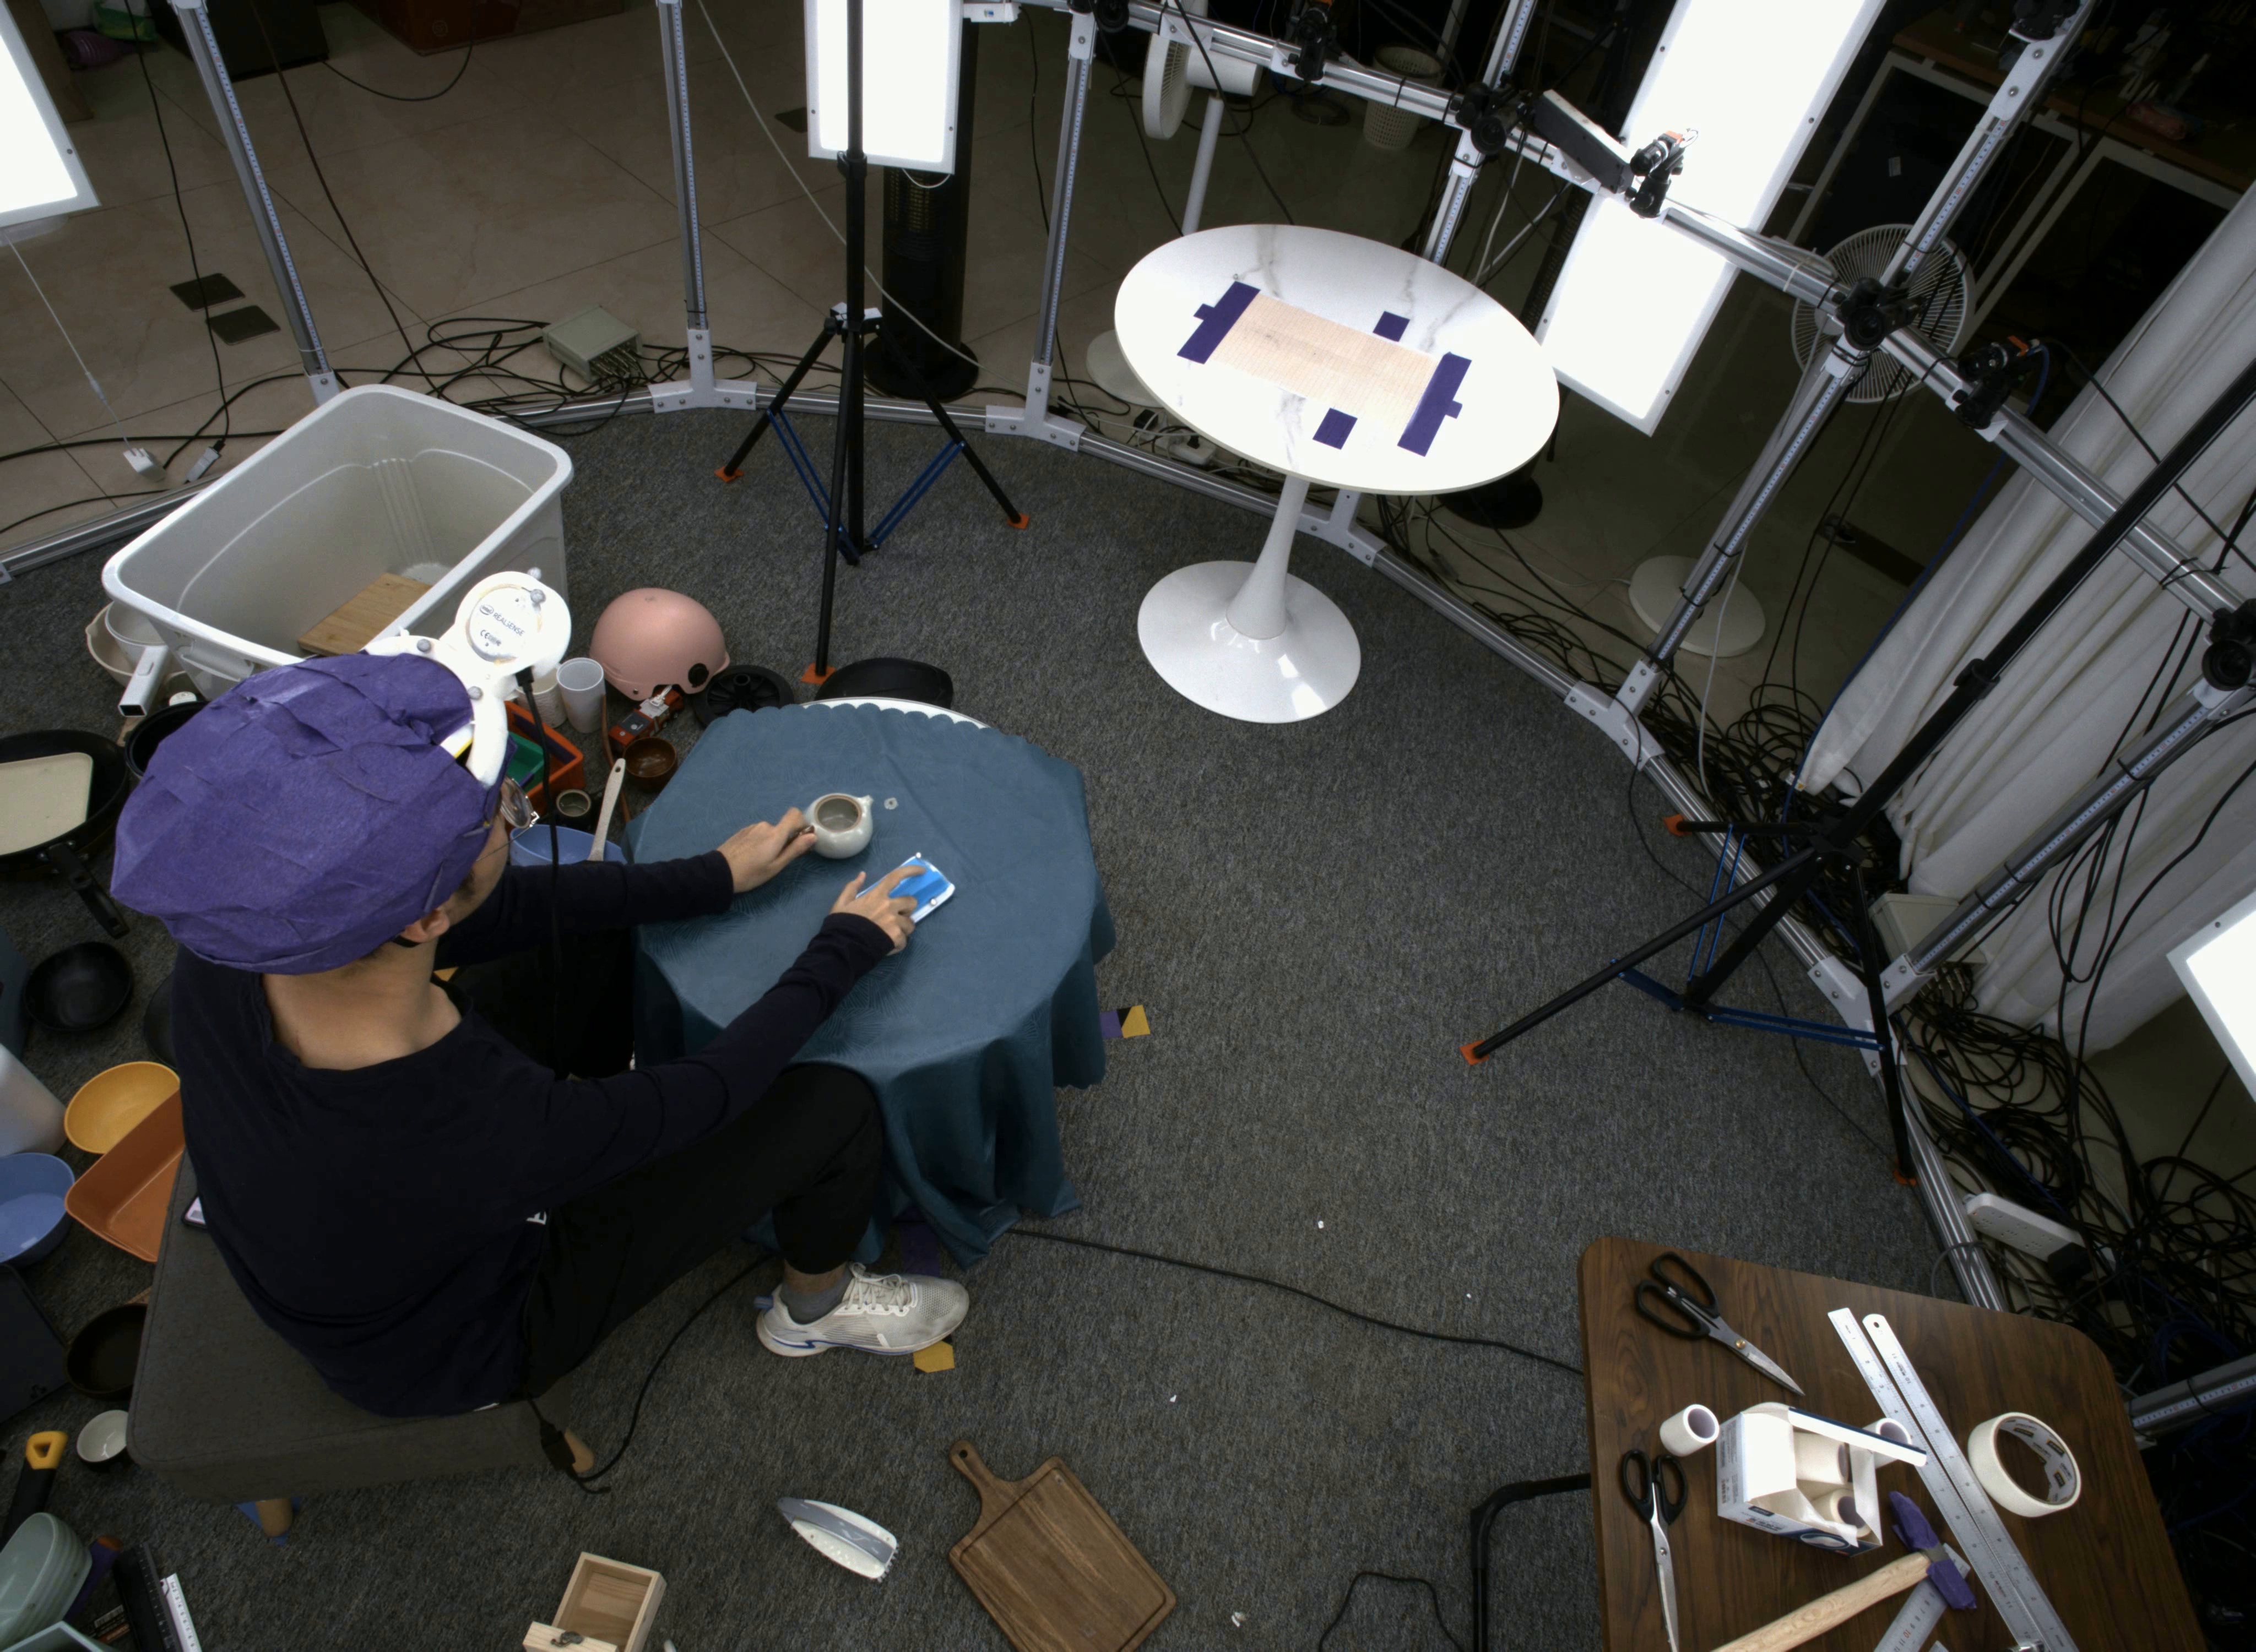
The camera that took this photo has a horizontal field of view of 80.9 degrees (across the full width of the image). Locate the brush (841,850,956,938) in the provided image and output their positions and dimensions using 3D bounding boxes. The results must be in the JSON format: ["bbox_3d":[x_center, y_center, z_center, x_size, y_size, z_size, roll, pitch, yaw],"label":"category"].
[{"bbox_3d":[-0.291,0.078,1.657,0.081,0.057,0.144,37,48,22],"label":"brush"}]

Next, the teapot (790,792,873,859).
[{"bbox_3d":[-0.387,0.003,1.694,0.128,0.060,0.090,-33,69,-33],"label":"teapot"}]
